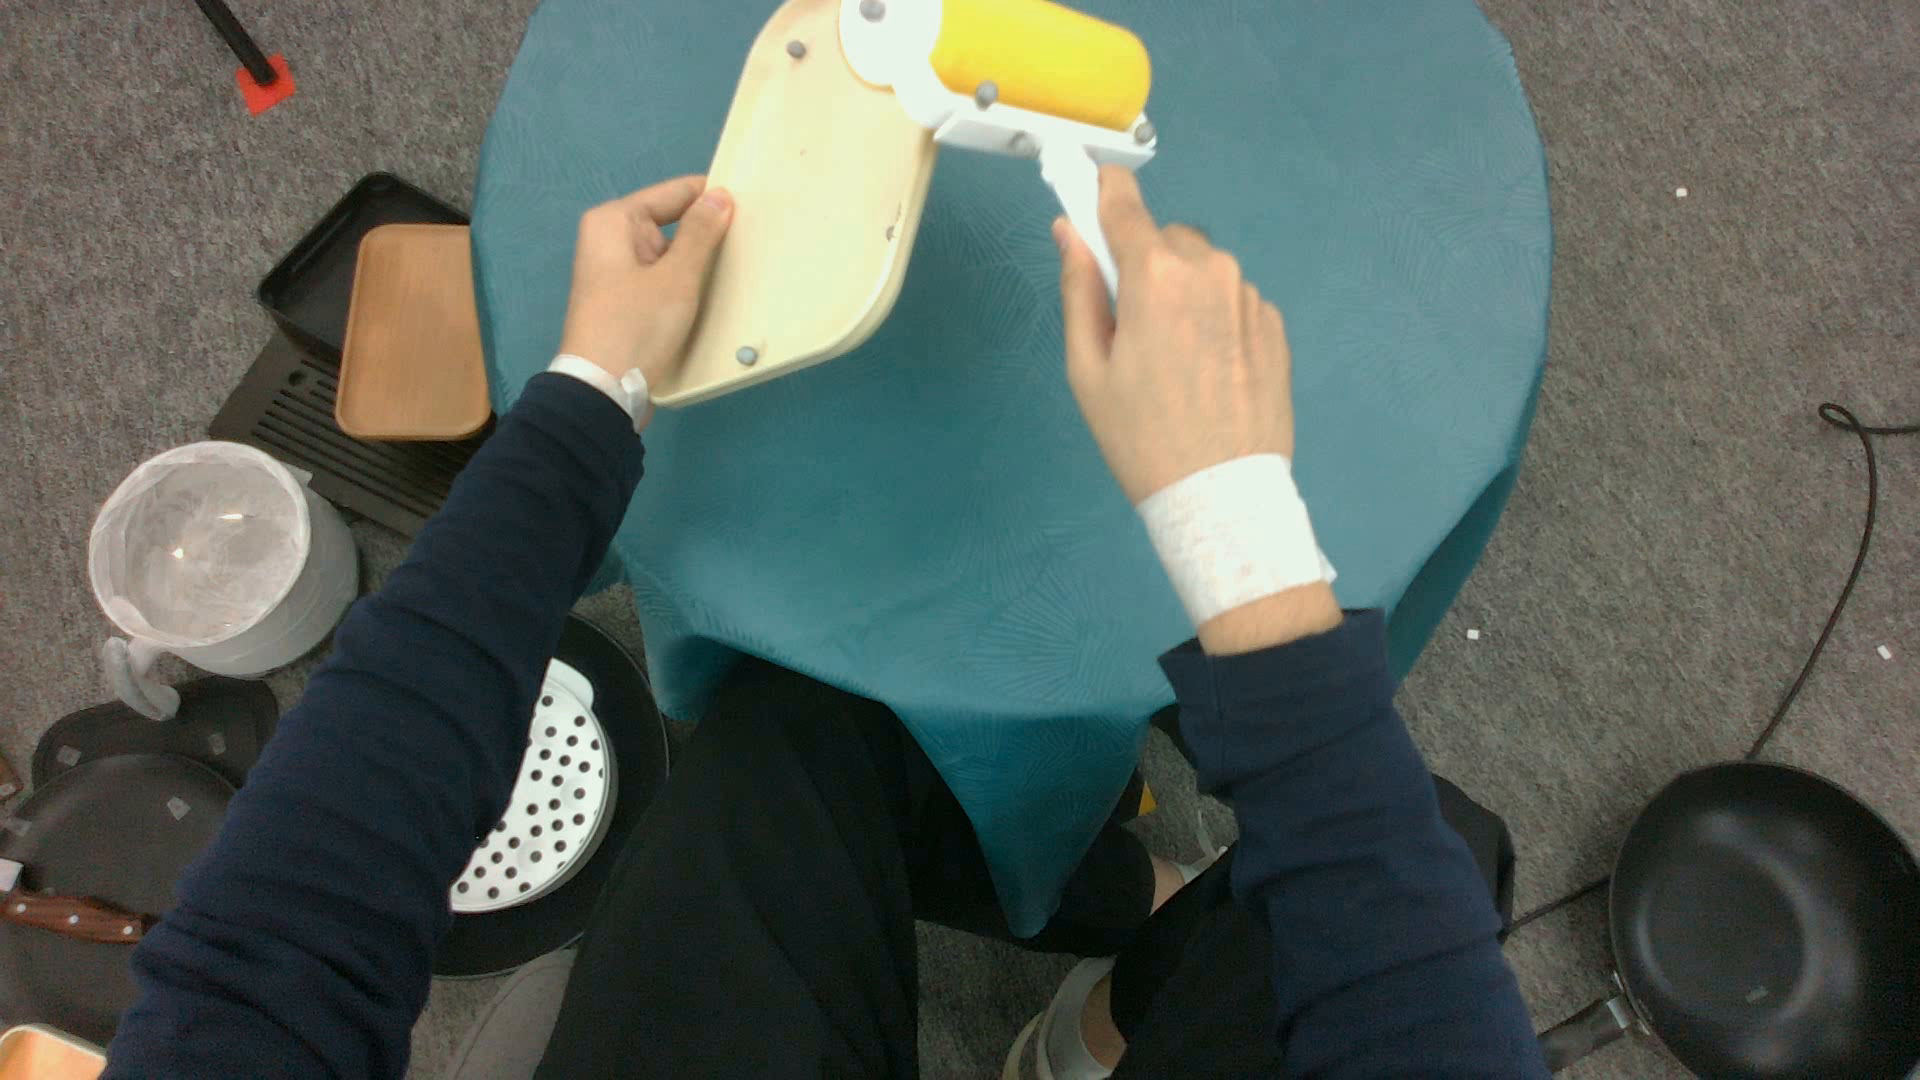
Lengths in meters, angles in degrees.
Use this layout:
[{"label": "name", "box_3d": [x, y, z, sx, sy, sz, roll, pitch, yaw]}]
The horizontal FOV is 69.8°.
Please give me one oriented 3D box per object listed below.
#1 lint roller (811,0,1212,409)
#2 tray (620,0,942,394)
[{"label": "lint roller", "box_3d": [0.049, -0.140, 0.544, 0.051, 0.175, 0.192, -45, 76, 31]}, {"label": "tray", "box_3d": [-0.075, -0.180, 0.618, 0.017, 0.170, 0.240, 29, 63, -39]}]
